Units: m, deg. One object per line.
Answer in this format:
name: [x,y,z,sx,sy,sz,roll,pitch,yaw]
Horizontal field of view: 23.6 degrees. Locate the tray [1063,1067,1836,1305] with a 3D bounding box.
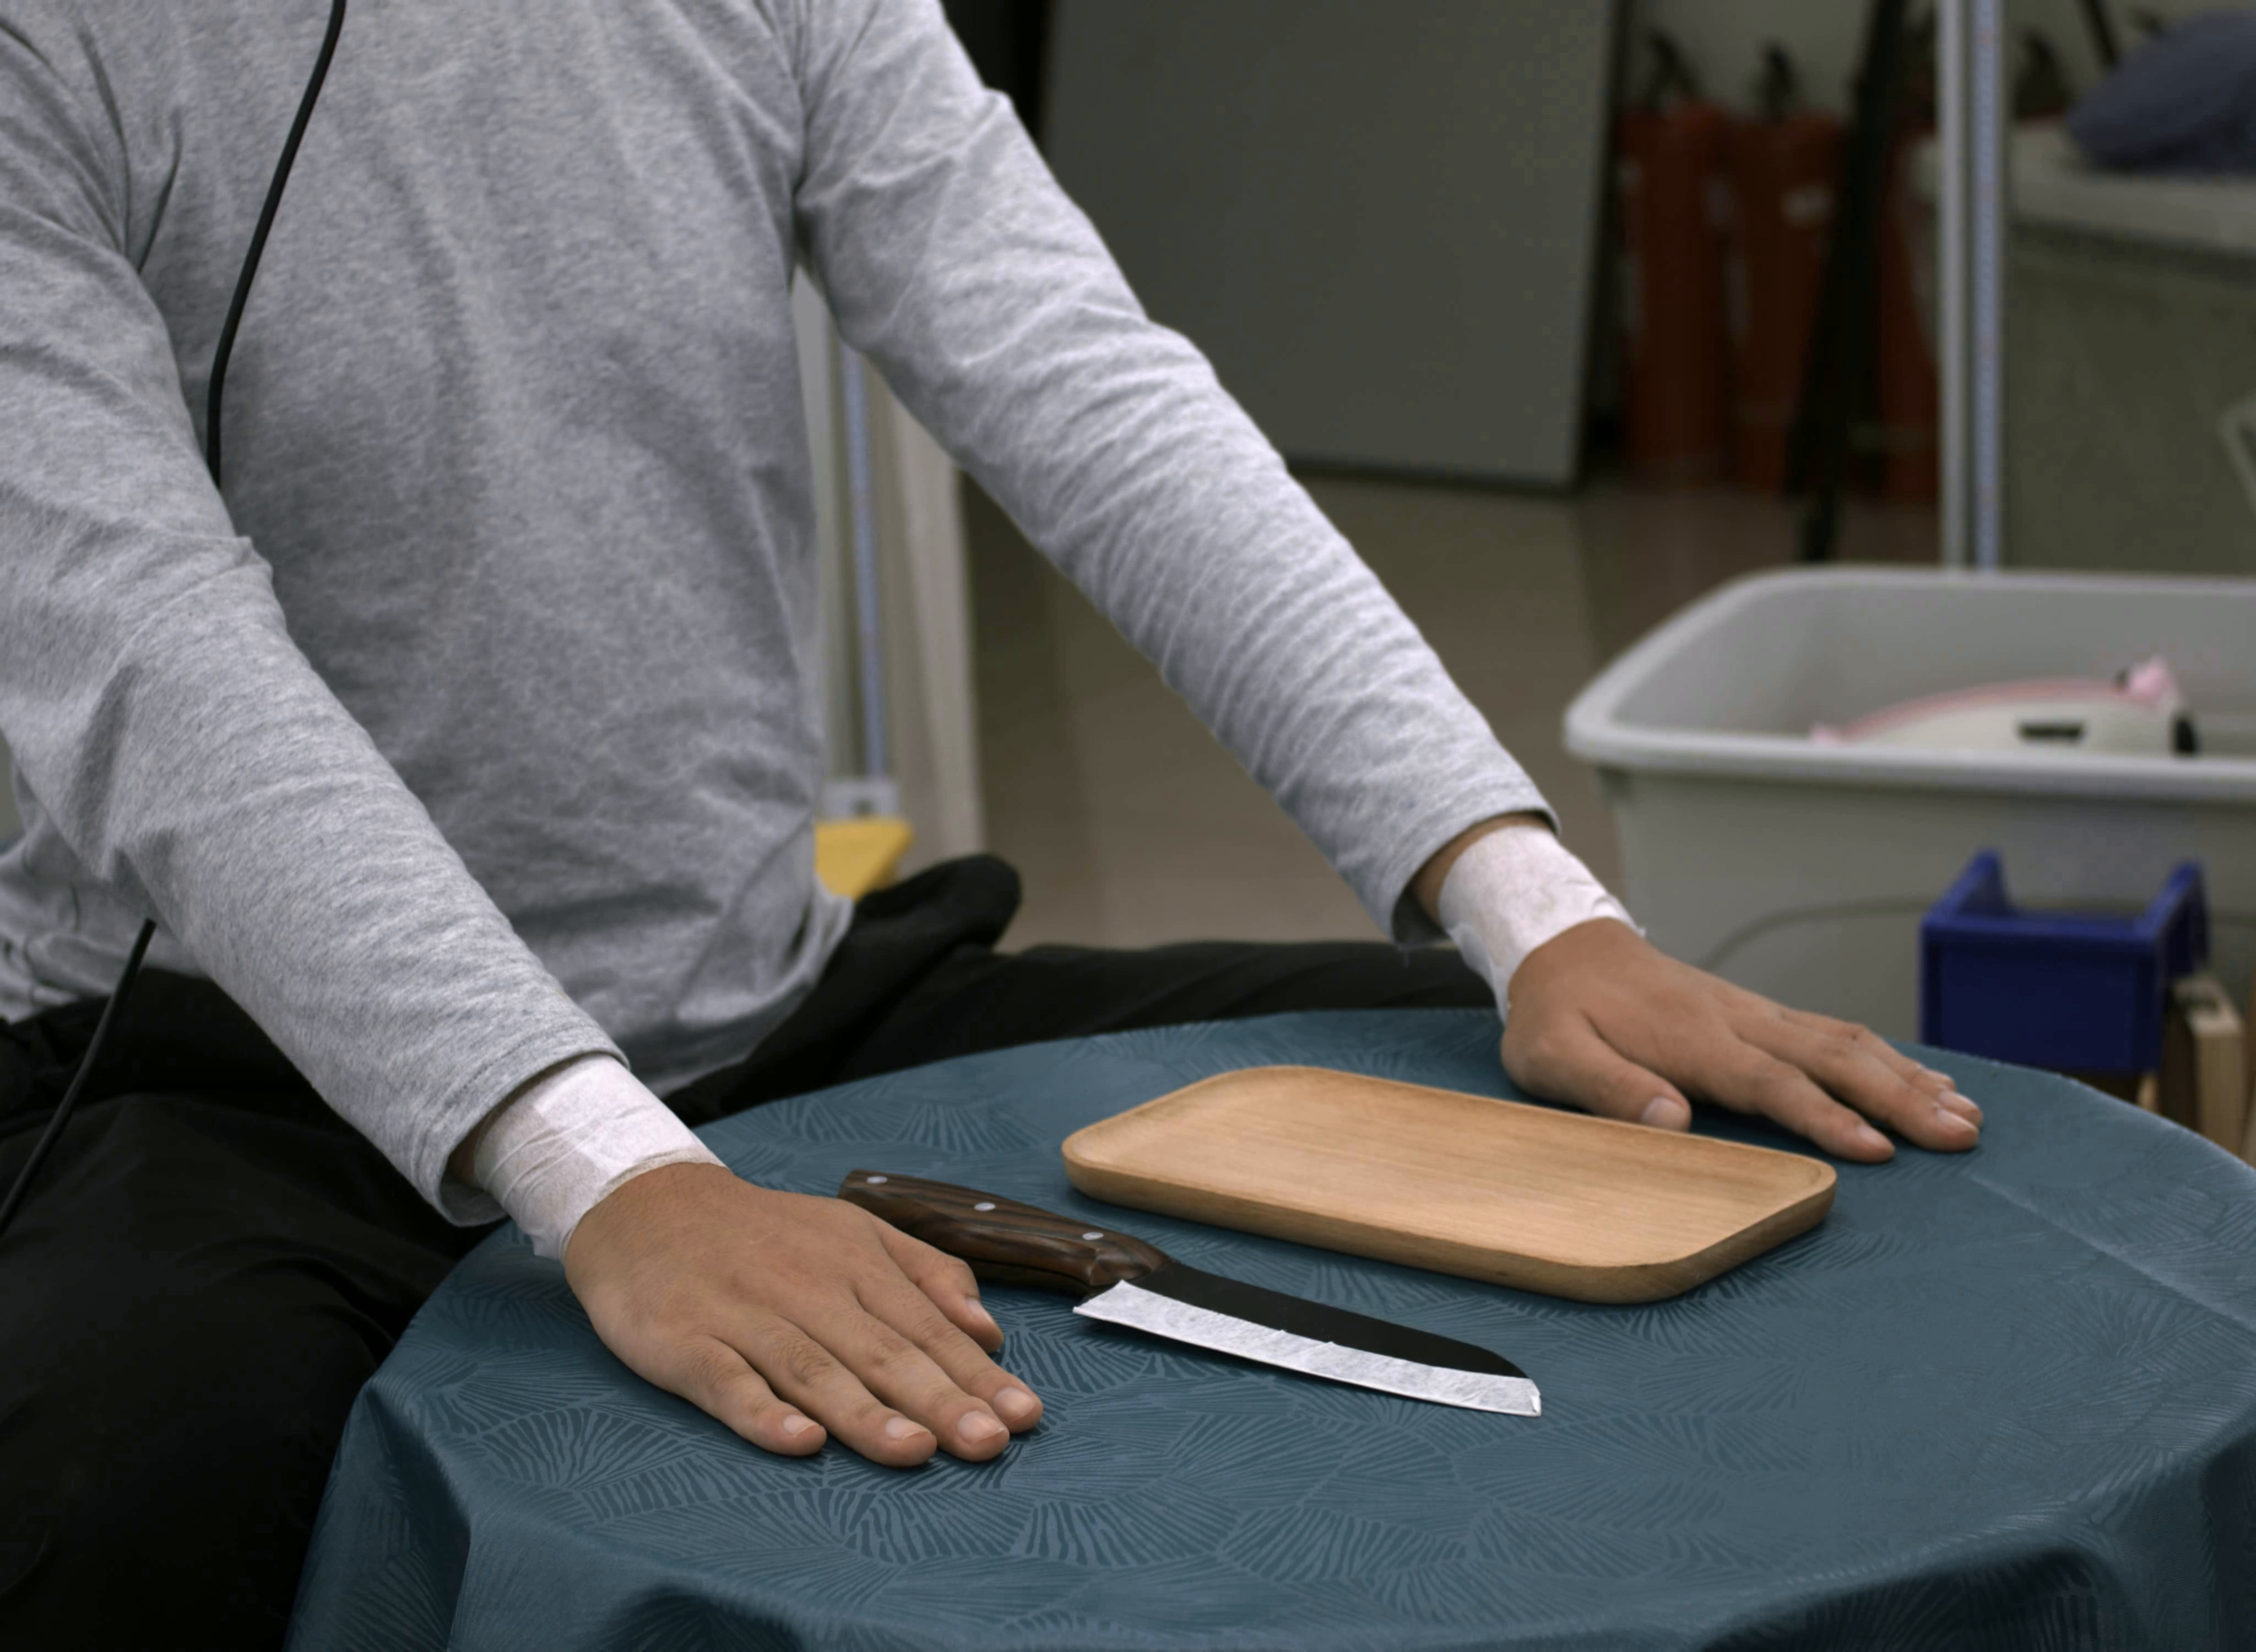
tray: [0.101,0.115,1.740,0.253,0.023,0.128,7,15,42]

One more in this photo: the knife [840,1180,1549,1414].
knife: [0.016,0.145,1.642,0.291,0.020,0.049,12,25,42]
